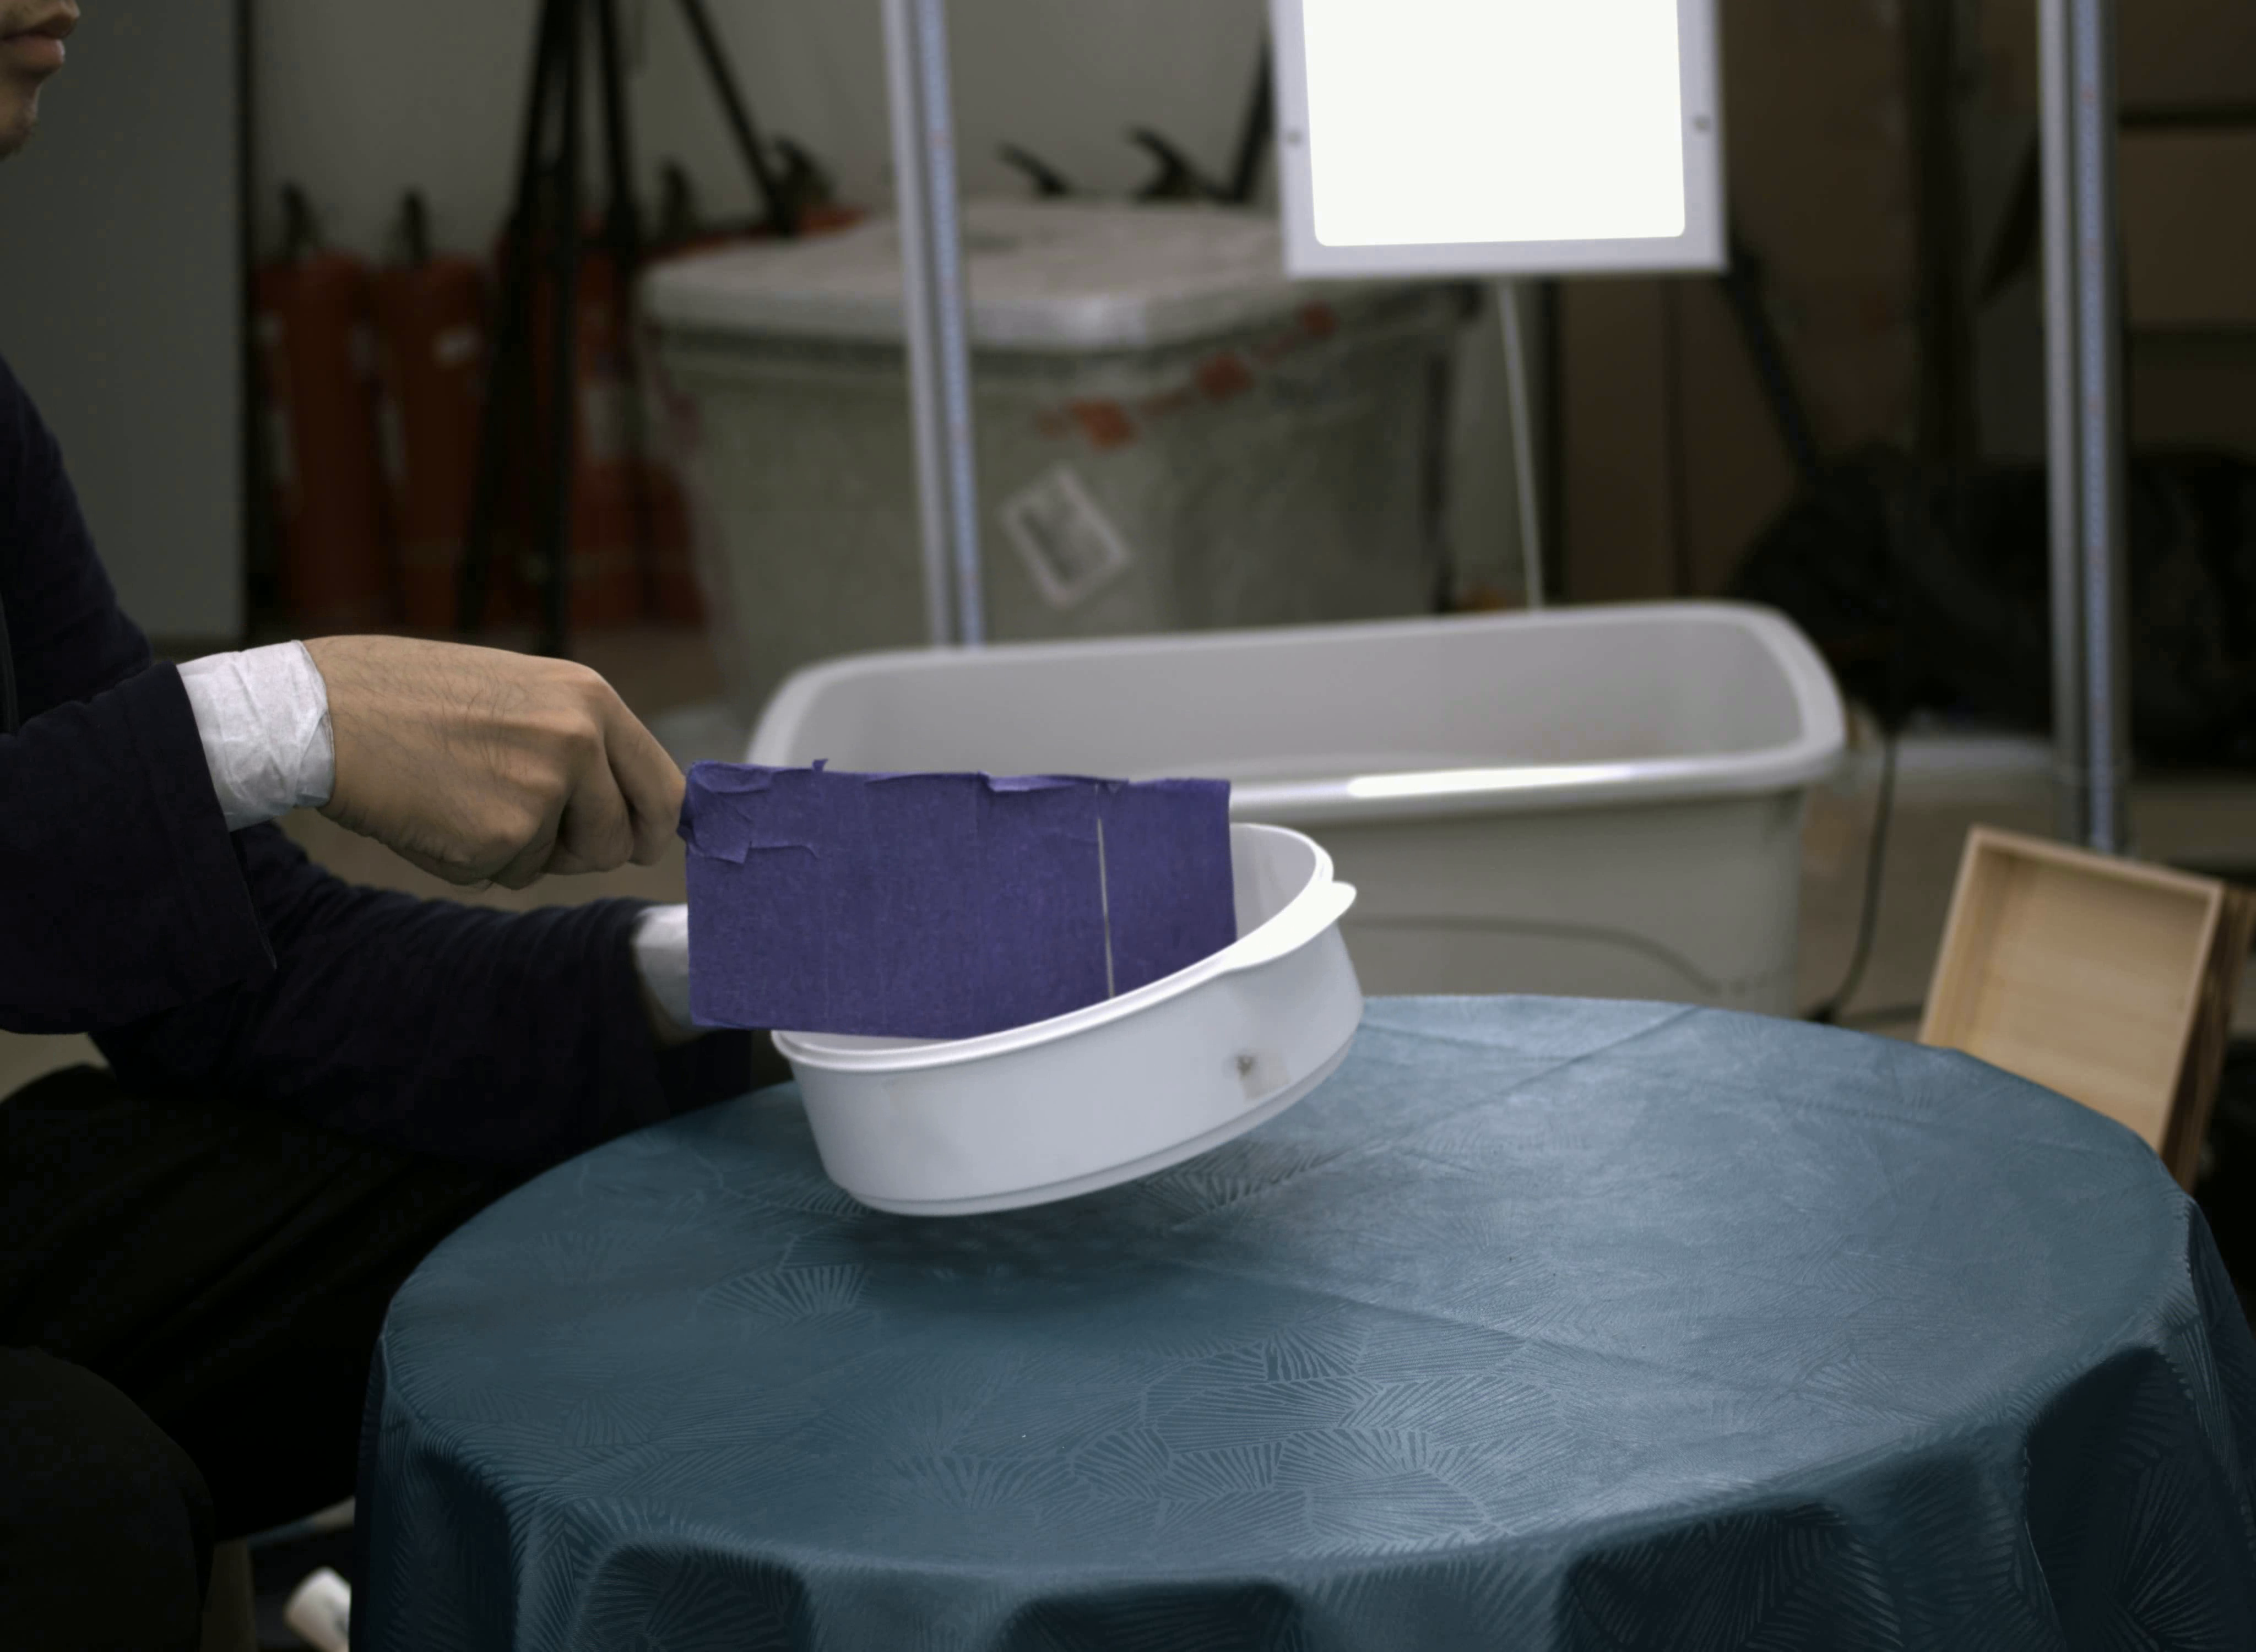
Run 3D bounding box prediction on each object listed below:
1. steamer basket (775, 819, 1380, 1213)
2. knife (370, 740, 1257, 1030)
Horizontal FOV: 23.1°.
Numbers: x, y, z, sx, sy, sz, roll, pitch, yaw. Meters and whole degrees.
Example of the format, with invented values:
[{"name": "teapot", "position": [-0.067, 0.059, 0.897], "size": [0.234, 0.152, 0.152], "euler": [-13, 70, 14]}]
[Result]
[{"name": "steamer basket", "position": [-0.012, 0.065, 1.877], "size": [0.235, 0.069, 0.197], "euler": [-10, 16, 36]}, {"name": "knife", "position": [-0.097, 0.020, 1.843], "size": [0.309, 0.104, 0.033], "euler": [0, -10, -22]}]
